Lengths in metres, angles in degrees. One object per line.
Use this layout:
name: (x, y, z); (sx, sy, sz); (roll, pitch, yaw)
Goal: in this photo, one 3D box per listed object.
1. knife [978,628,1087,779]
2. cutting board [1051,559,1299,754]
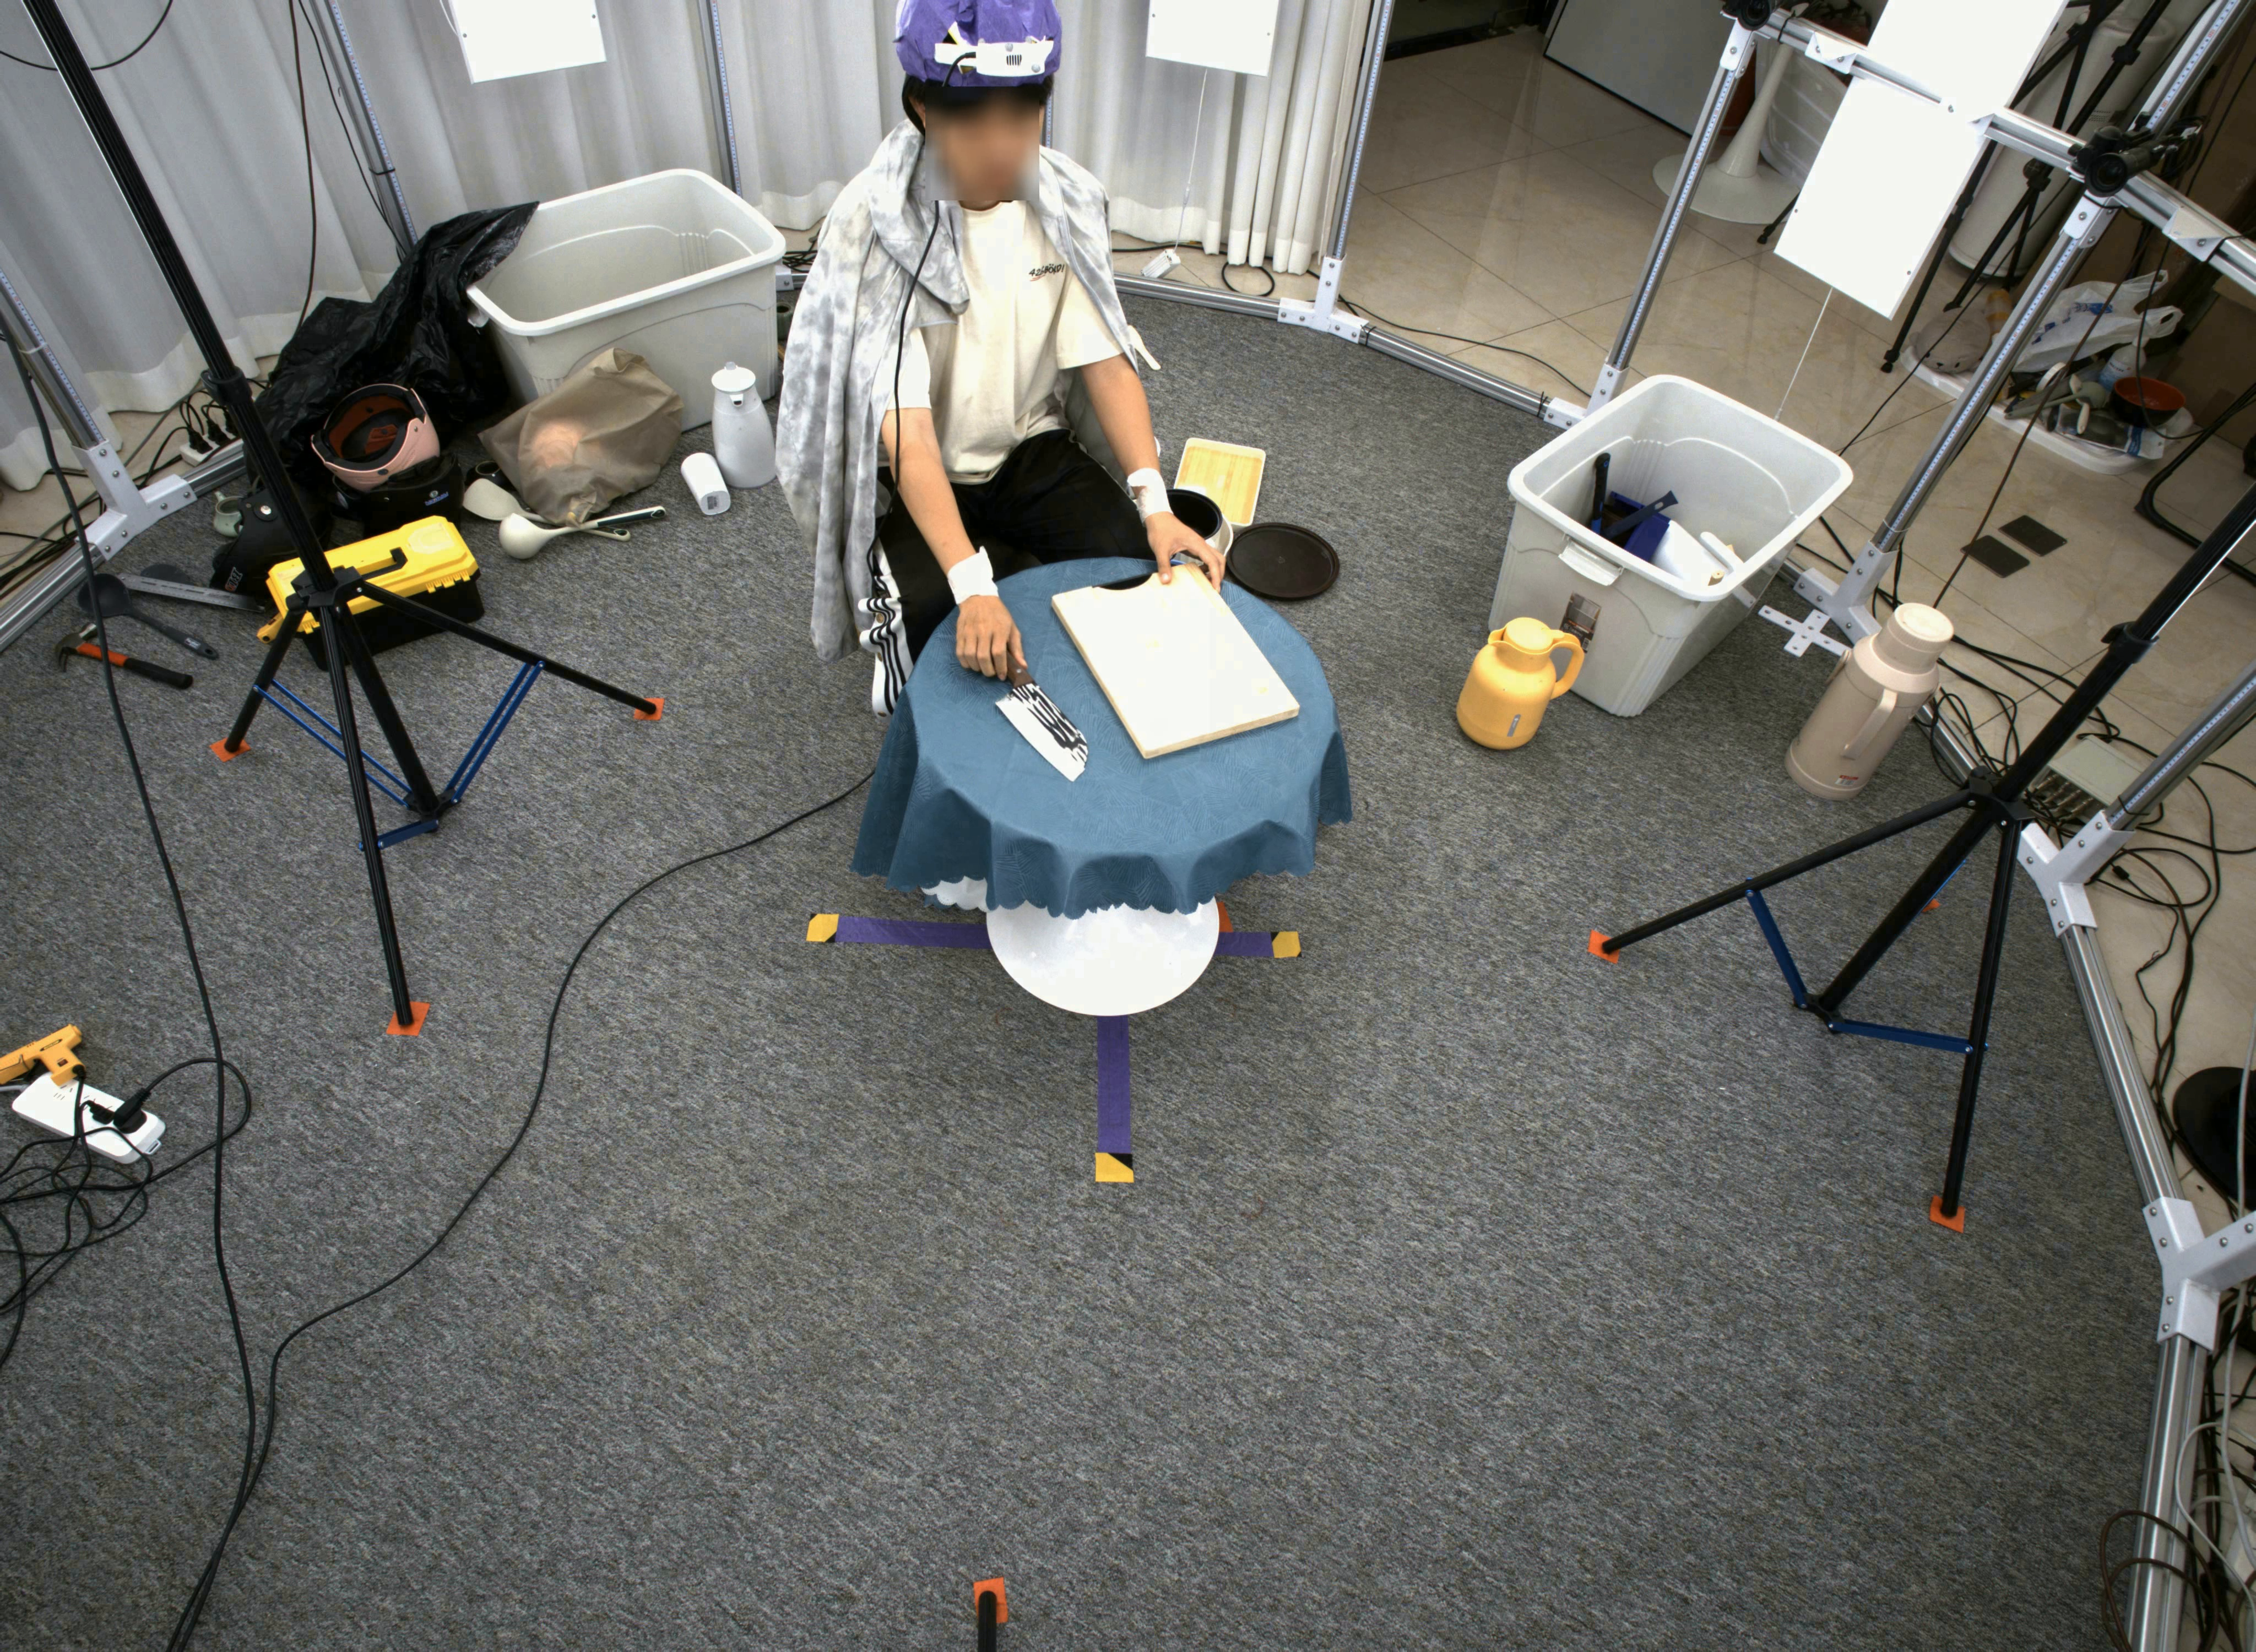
knife: (-0.142, -0.173, 1.789); (0.068, 0.023, 0.305); (-27, 58, -21)
cutting board: (0.063, -0.255, 1.877); (0.251, 0.023, 0.356); (-17, 52, -18)
